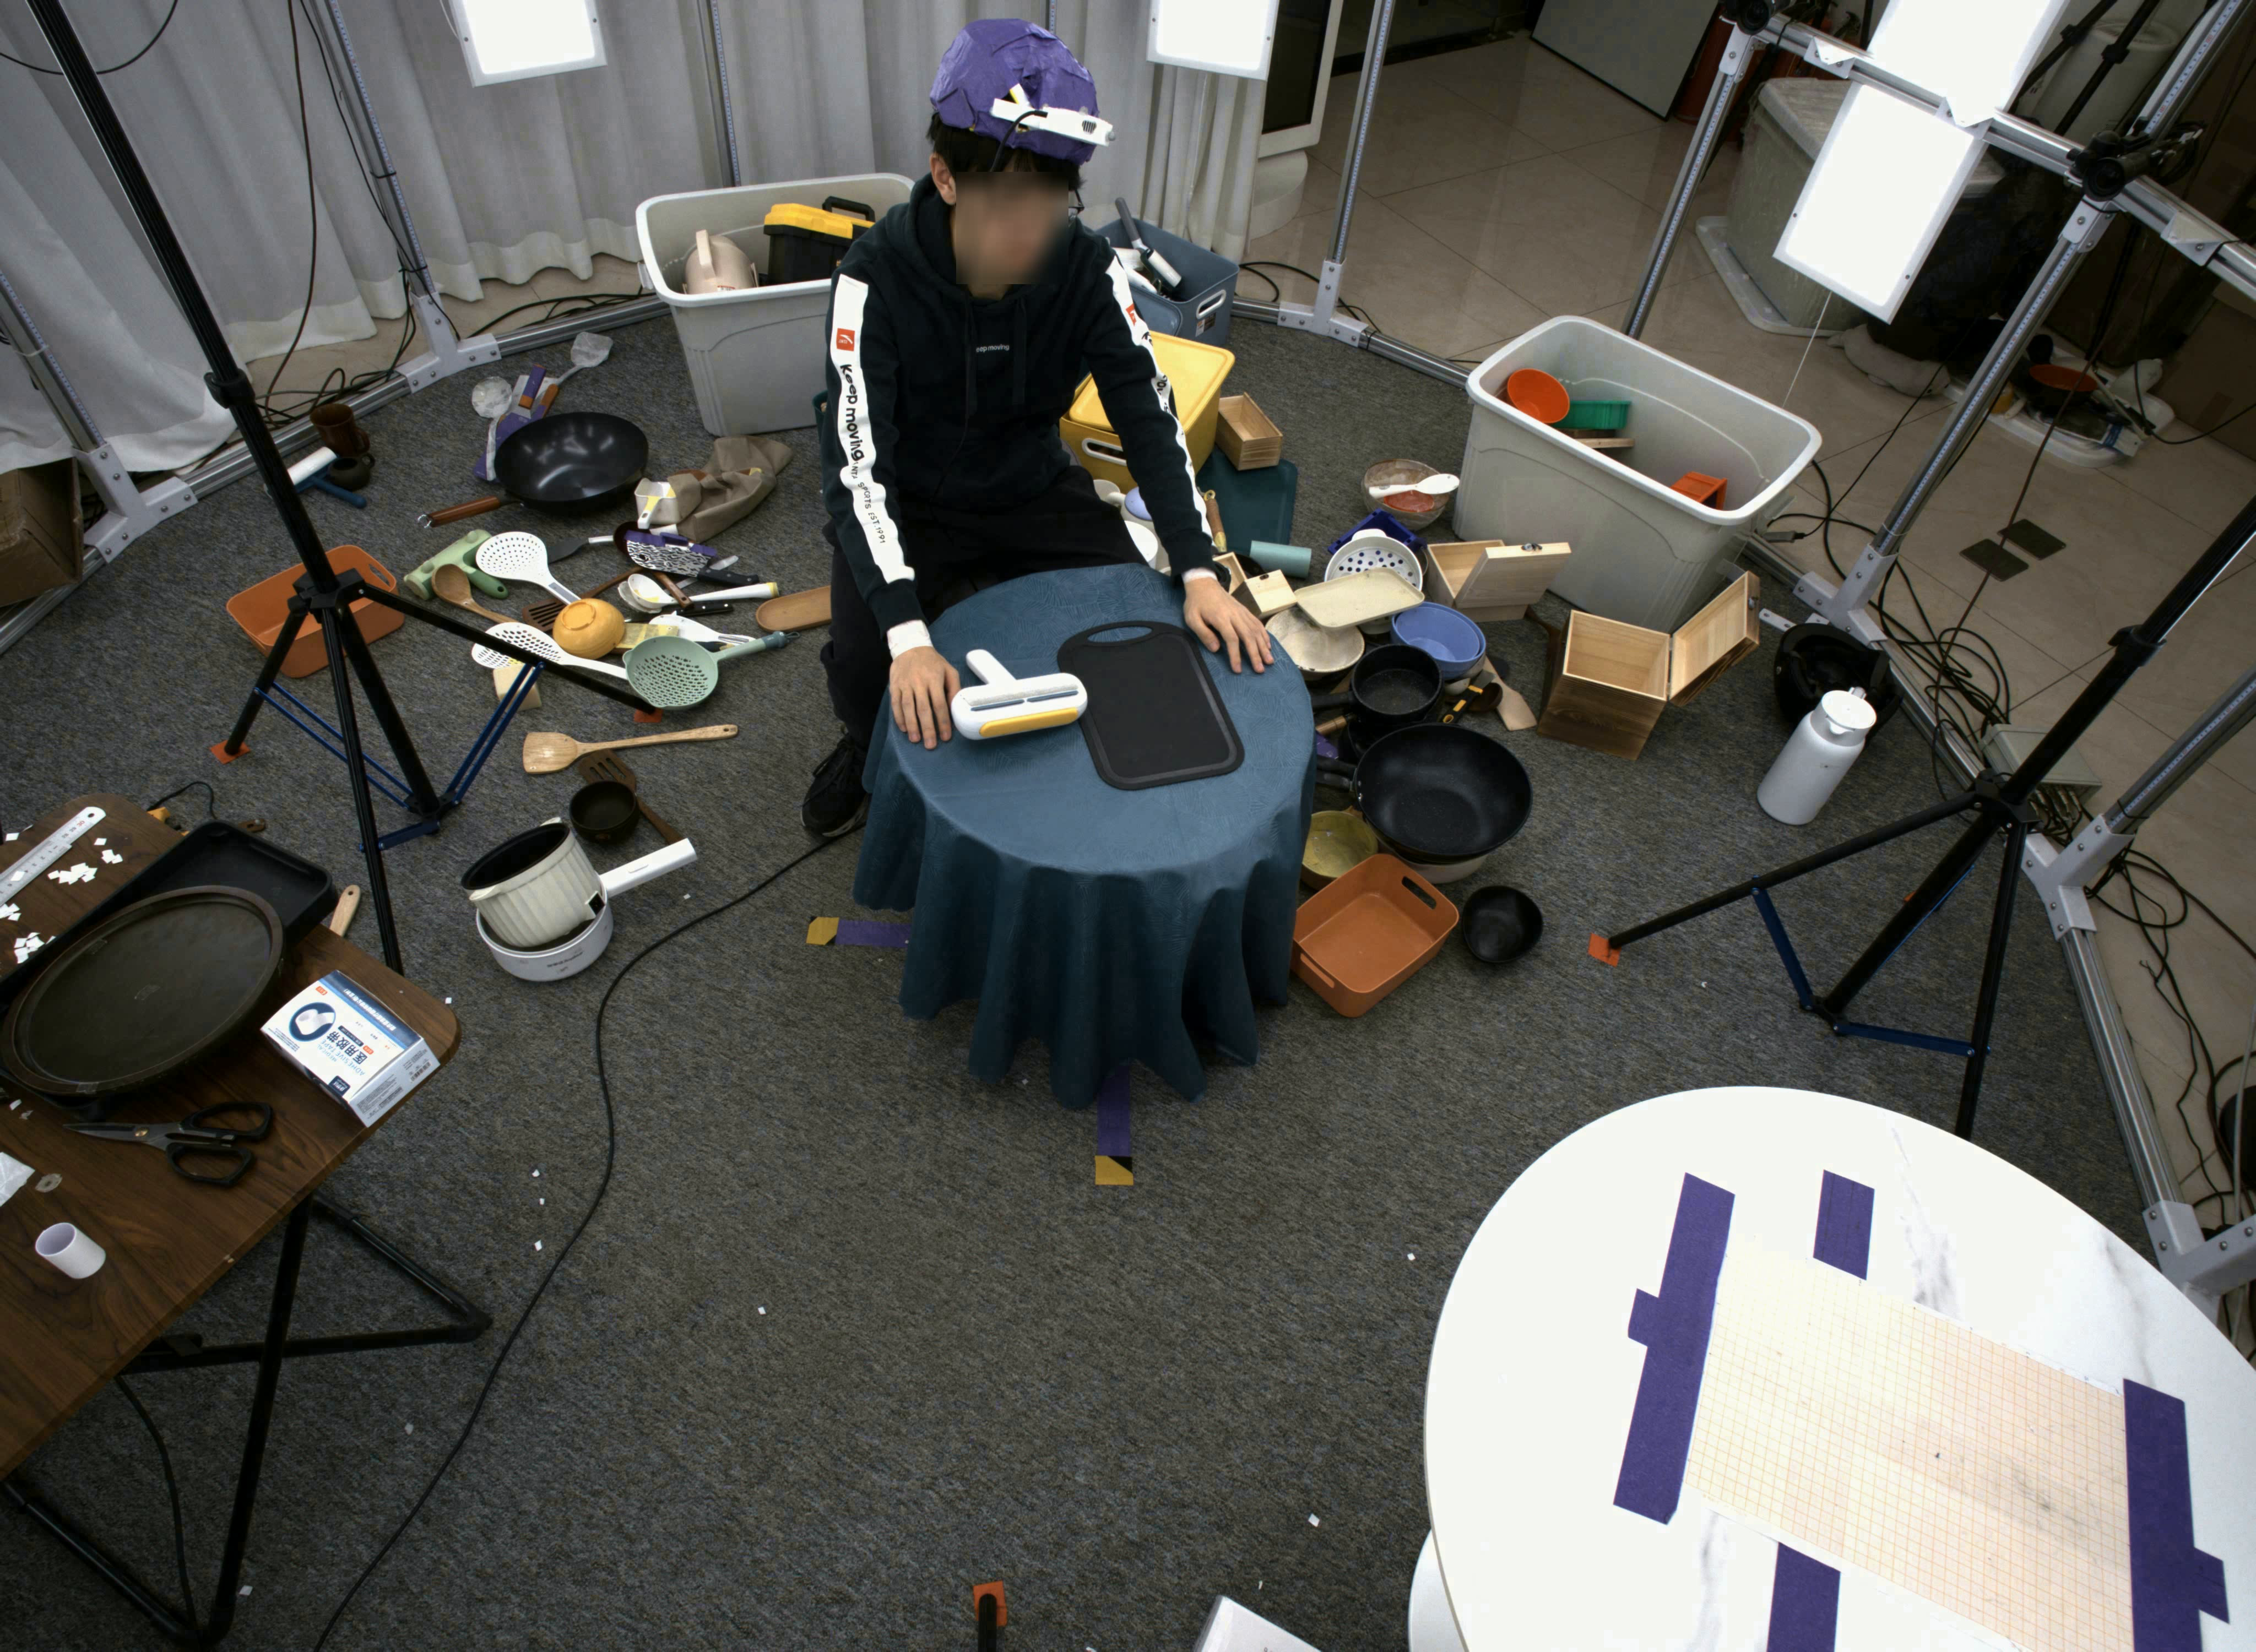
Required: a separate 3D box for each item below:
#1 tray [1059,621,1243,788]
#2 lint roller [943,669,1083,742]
[{"bbox_3d":[0.025,-0.183,1.824,0.211,0.009,0.333,-10,50,-12],"label":"tray"},{"bbox_3d":[-0.177,-0.184,1.795,0.192,0.072,0.197,-10,36,-20],"label":"lint roller"}]
